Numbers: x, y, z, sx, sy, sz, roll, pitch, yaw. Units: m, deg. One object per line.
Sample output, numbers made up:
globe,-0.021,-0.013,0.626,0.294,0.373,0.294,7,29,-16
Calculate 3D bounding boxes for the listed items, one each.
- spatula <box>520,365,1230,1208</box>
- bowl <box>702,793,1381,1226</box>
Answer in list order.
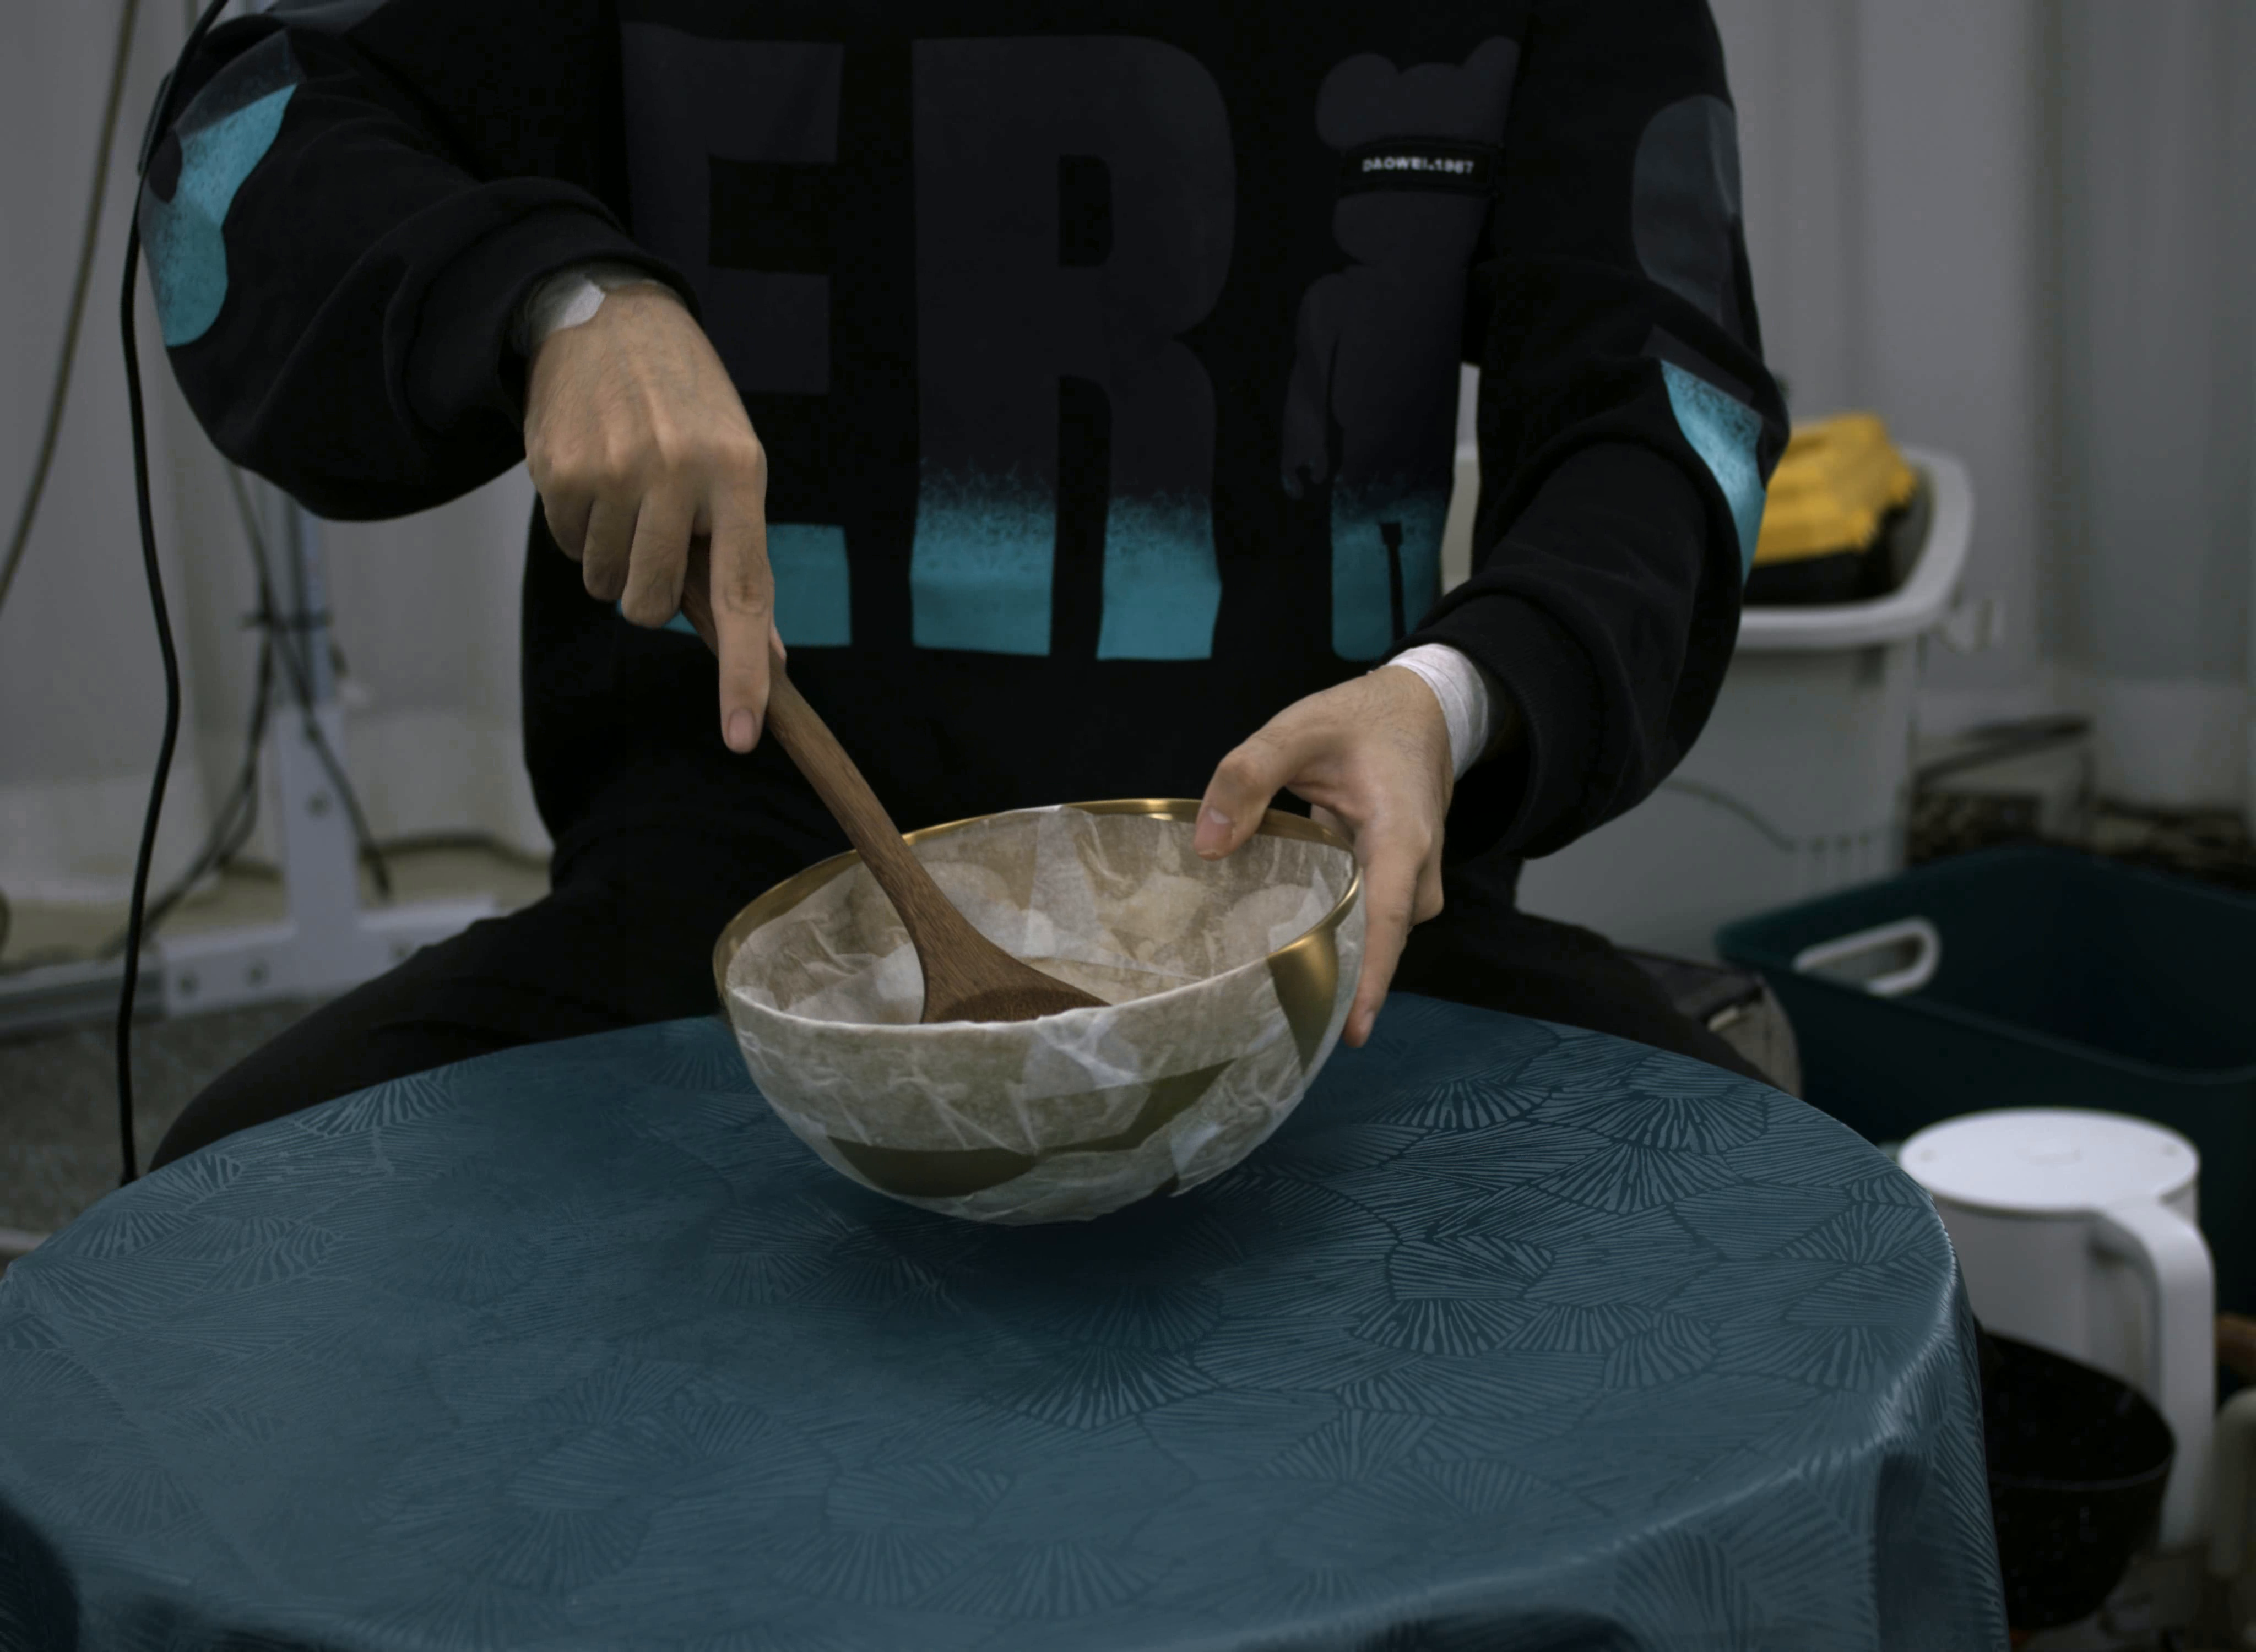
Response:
spatula,-0.097,-0.021,1.735,0.096,0.015,0.391,-10,51,-37
bowl,-0.020,0.066,1.671,0.214,0.094,0.216,-8,16,2
